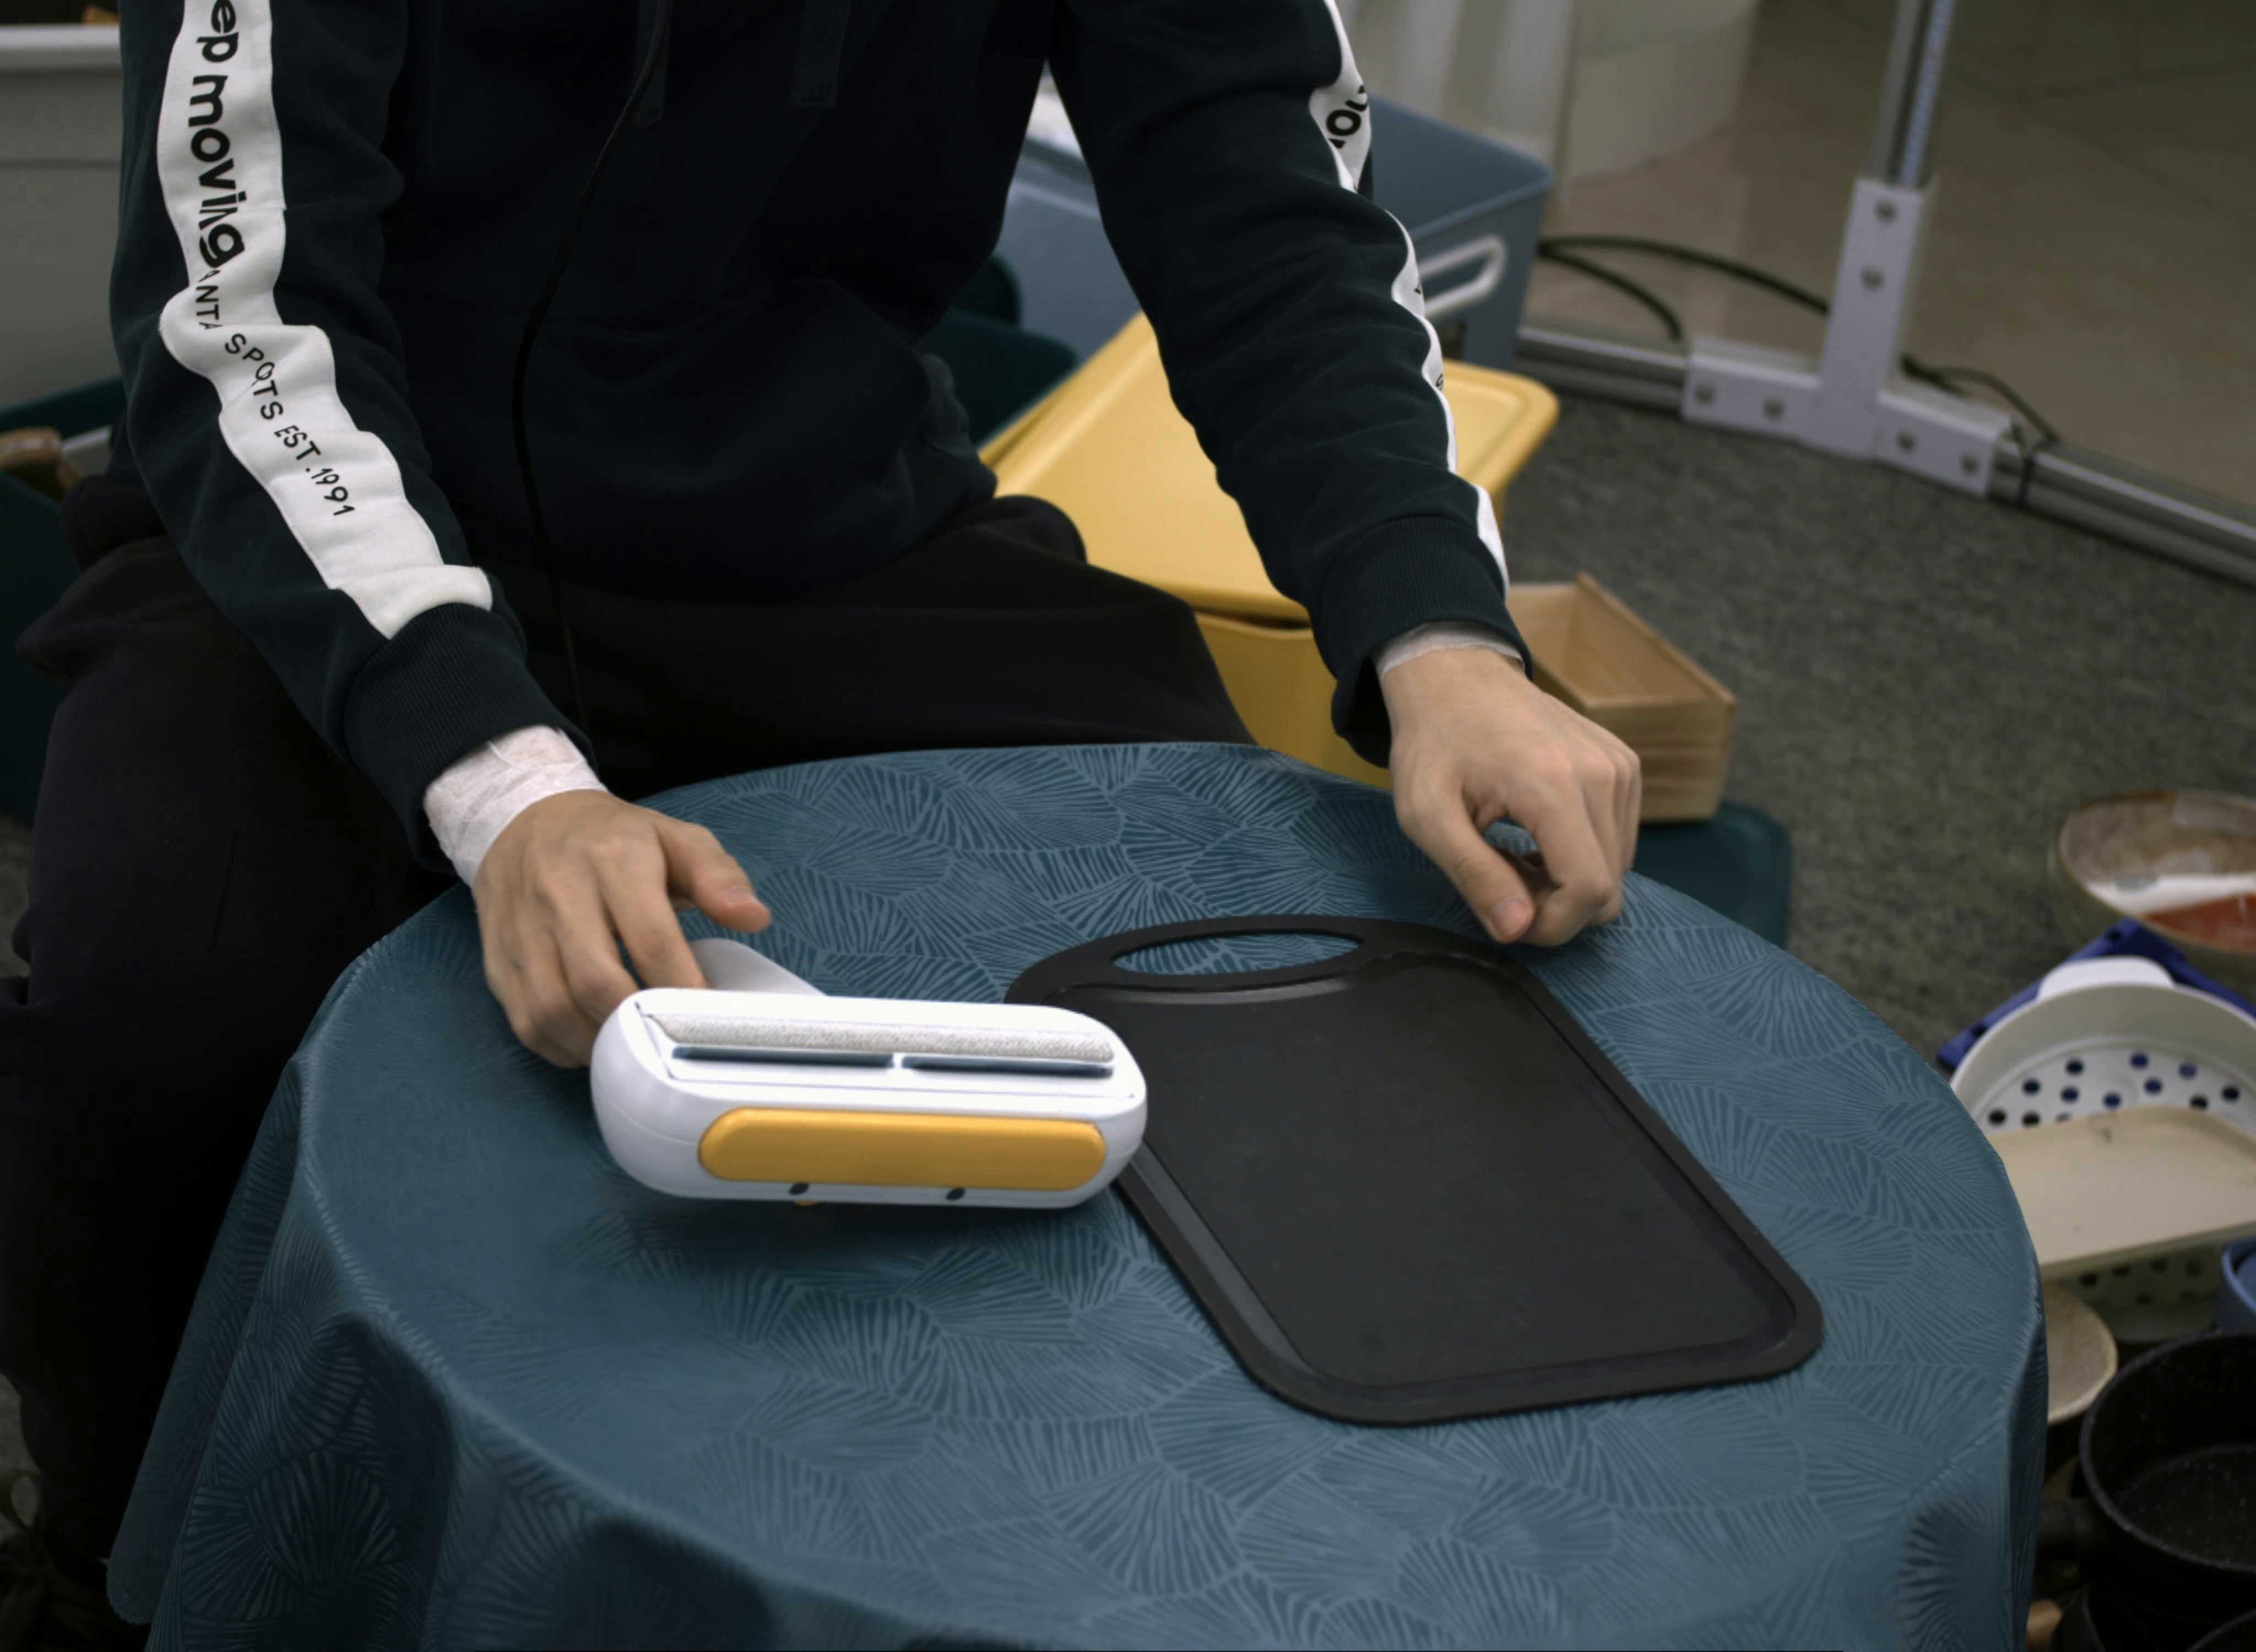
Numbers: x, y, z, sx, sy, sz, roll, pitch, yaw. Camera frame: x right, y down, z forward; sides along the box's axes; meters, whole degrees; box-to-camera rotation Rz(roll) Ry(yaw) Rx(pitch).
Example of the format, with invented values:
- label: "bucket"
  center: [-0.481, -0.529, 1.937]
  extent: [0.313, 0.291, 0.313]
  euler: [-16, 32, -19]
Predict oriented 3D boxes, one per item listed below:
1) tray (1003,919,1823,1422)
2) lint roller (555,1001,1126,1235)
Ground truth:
- label: "tray"
  center: [0.089, 0.110, 1.839]
  extent: [0.210, 0.010, 0.328]
  euler: [-5, 29, -21]
- label: "lint roller"
  center: [-0.114, 0.089, 1.807]
  extent: [0.191, 0.074, 0.193]
  euler: [3, 12, -21]
